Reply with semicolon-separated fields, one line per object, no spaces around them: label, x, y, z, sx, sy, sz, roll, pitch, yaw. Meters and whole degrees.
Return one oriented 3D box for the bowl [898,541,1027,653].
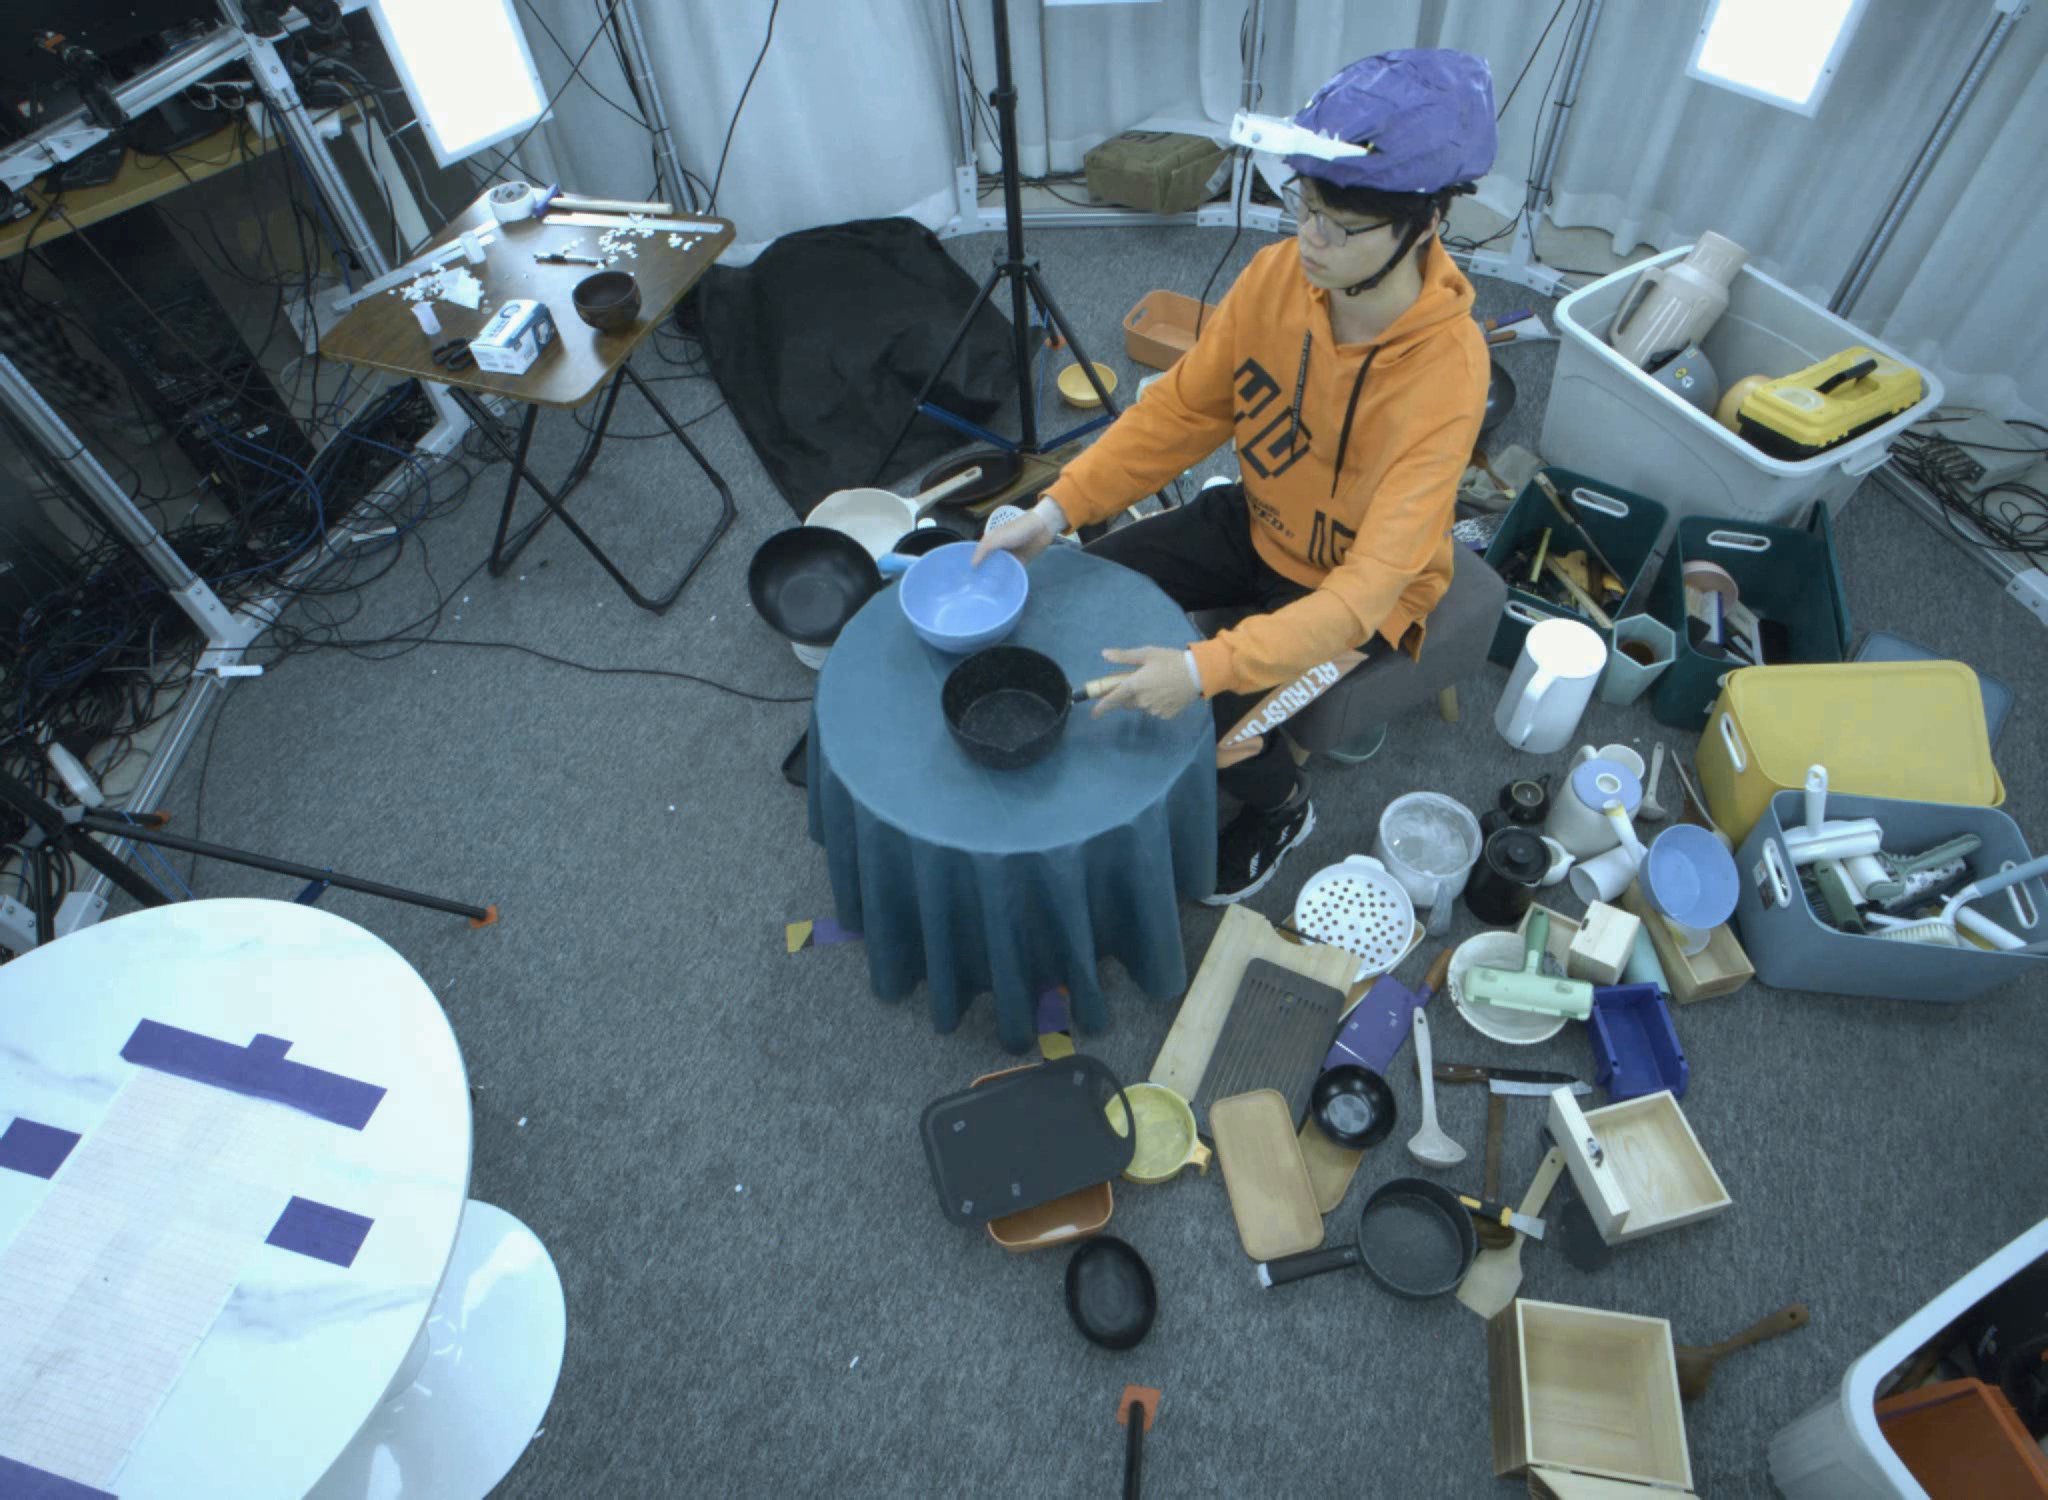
bowl;-0.090;-0.220;1.887;0.196;0.096;0.194;-1;54;3

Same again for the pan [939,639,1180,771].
pan;0.053;-0.072;1.770;0.343;0.109;0.204;-8;53;-2
